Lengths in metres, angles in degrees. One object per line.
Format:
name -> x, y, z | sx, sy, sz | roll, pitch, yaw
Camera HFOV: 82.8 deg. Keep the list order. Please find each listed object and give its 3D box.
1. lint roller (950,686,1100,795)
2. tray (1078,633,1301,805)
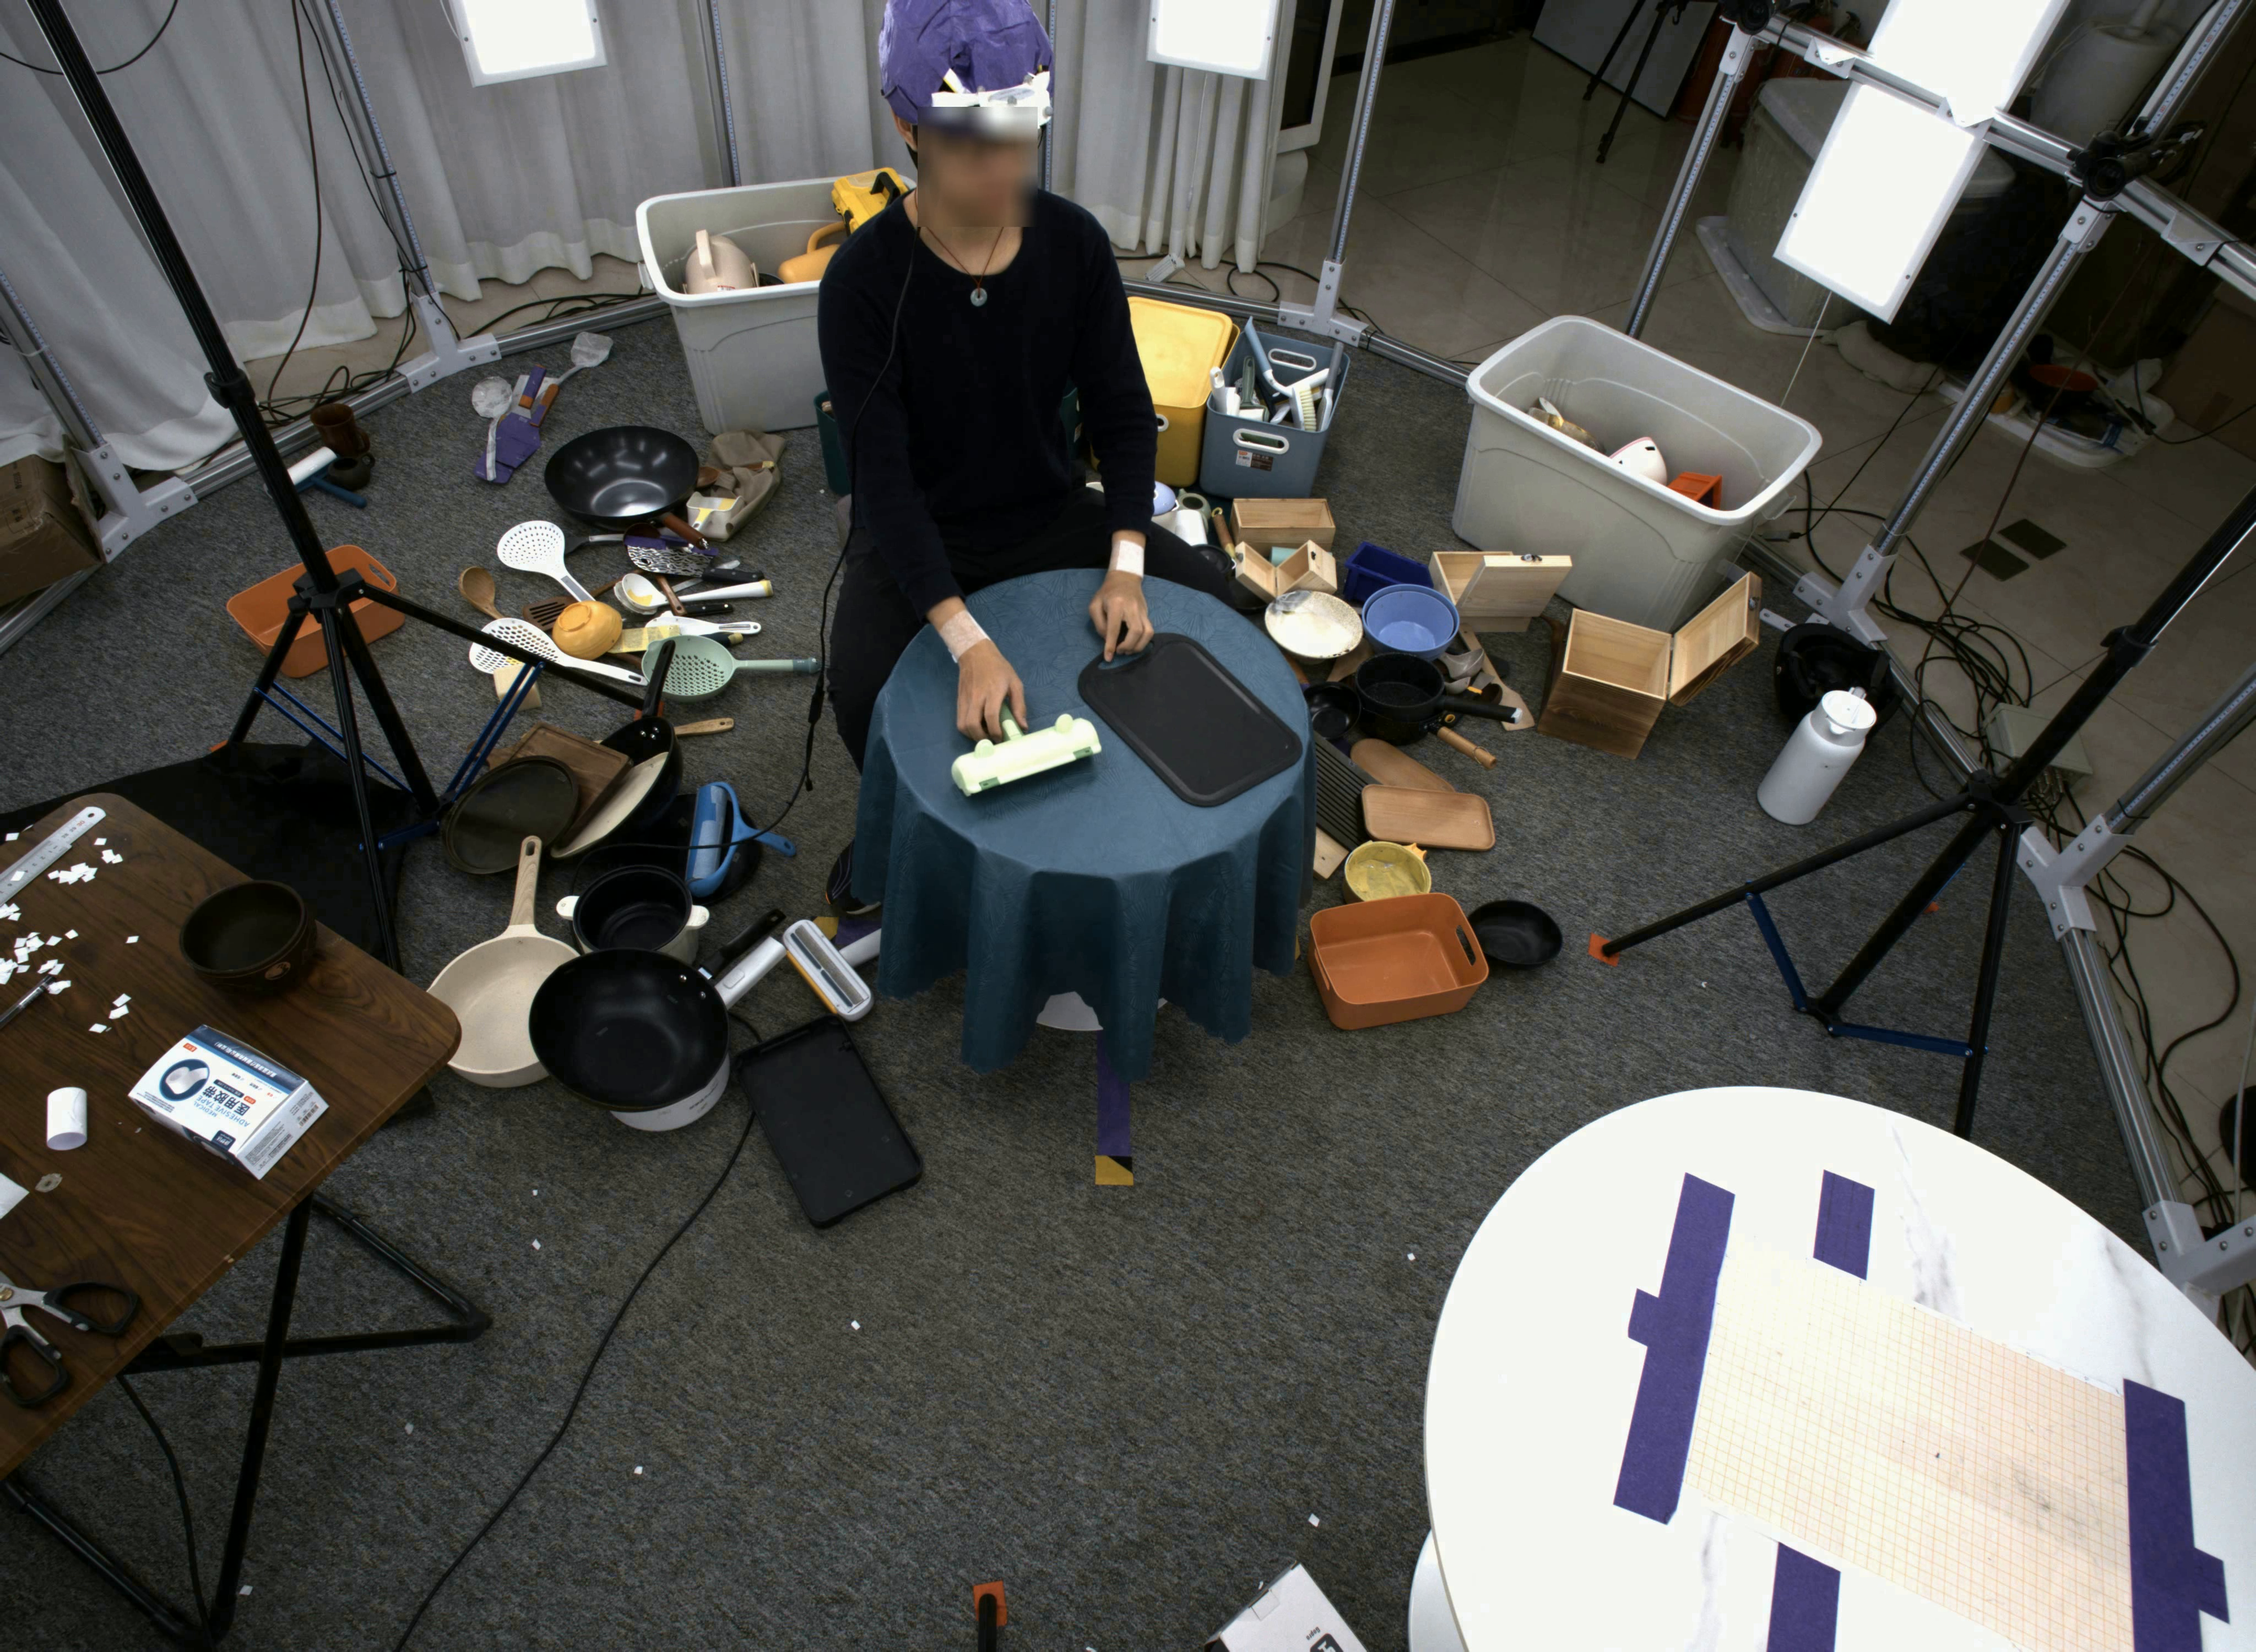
lint roller -> -0.161, -0.140, 1.724 | 0.199, 0.080, 0.187 | -20, 59, -21
tray -> 0.079, -0.163, 1.811 | 0.212, 0.009, 0.331 | -27, 56, -25
